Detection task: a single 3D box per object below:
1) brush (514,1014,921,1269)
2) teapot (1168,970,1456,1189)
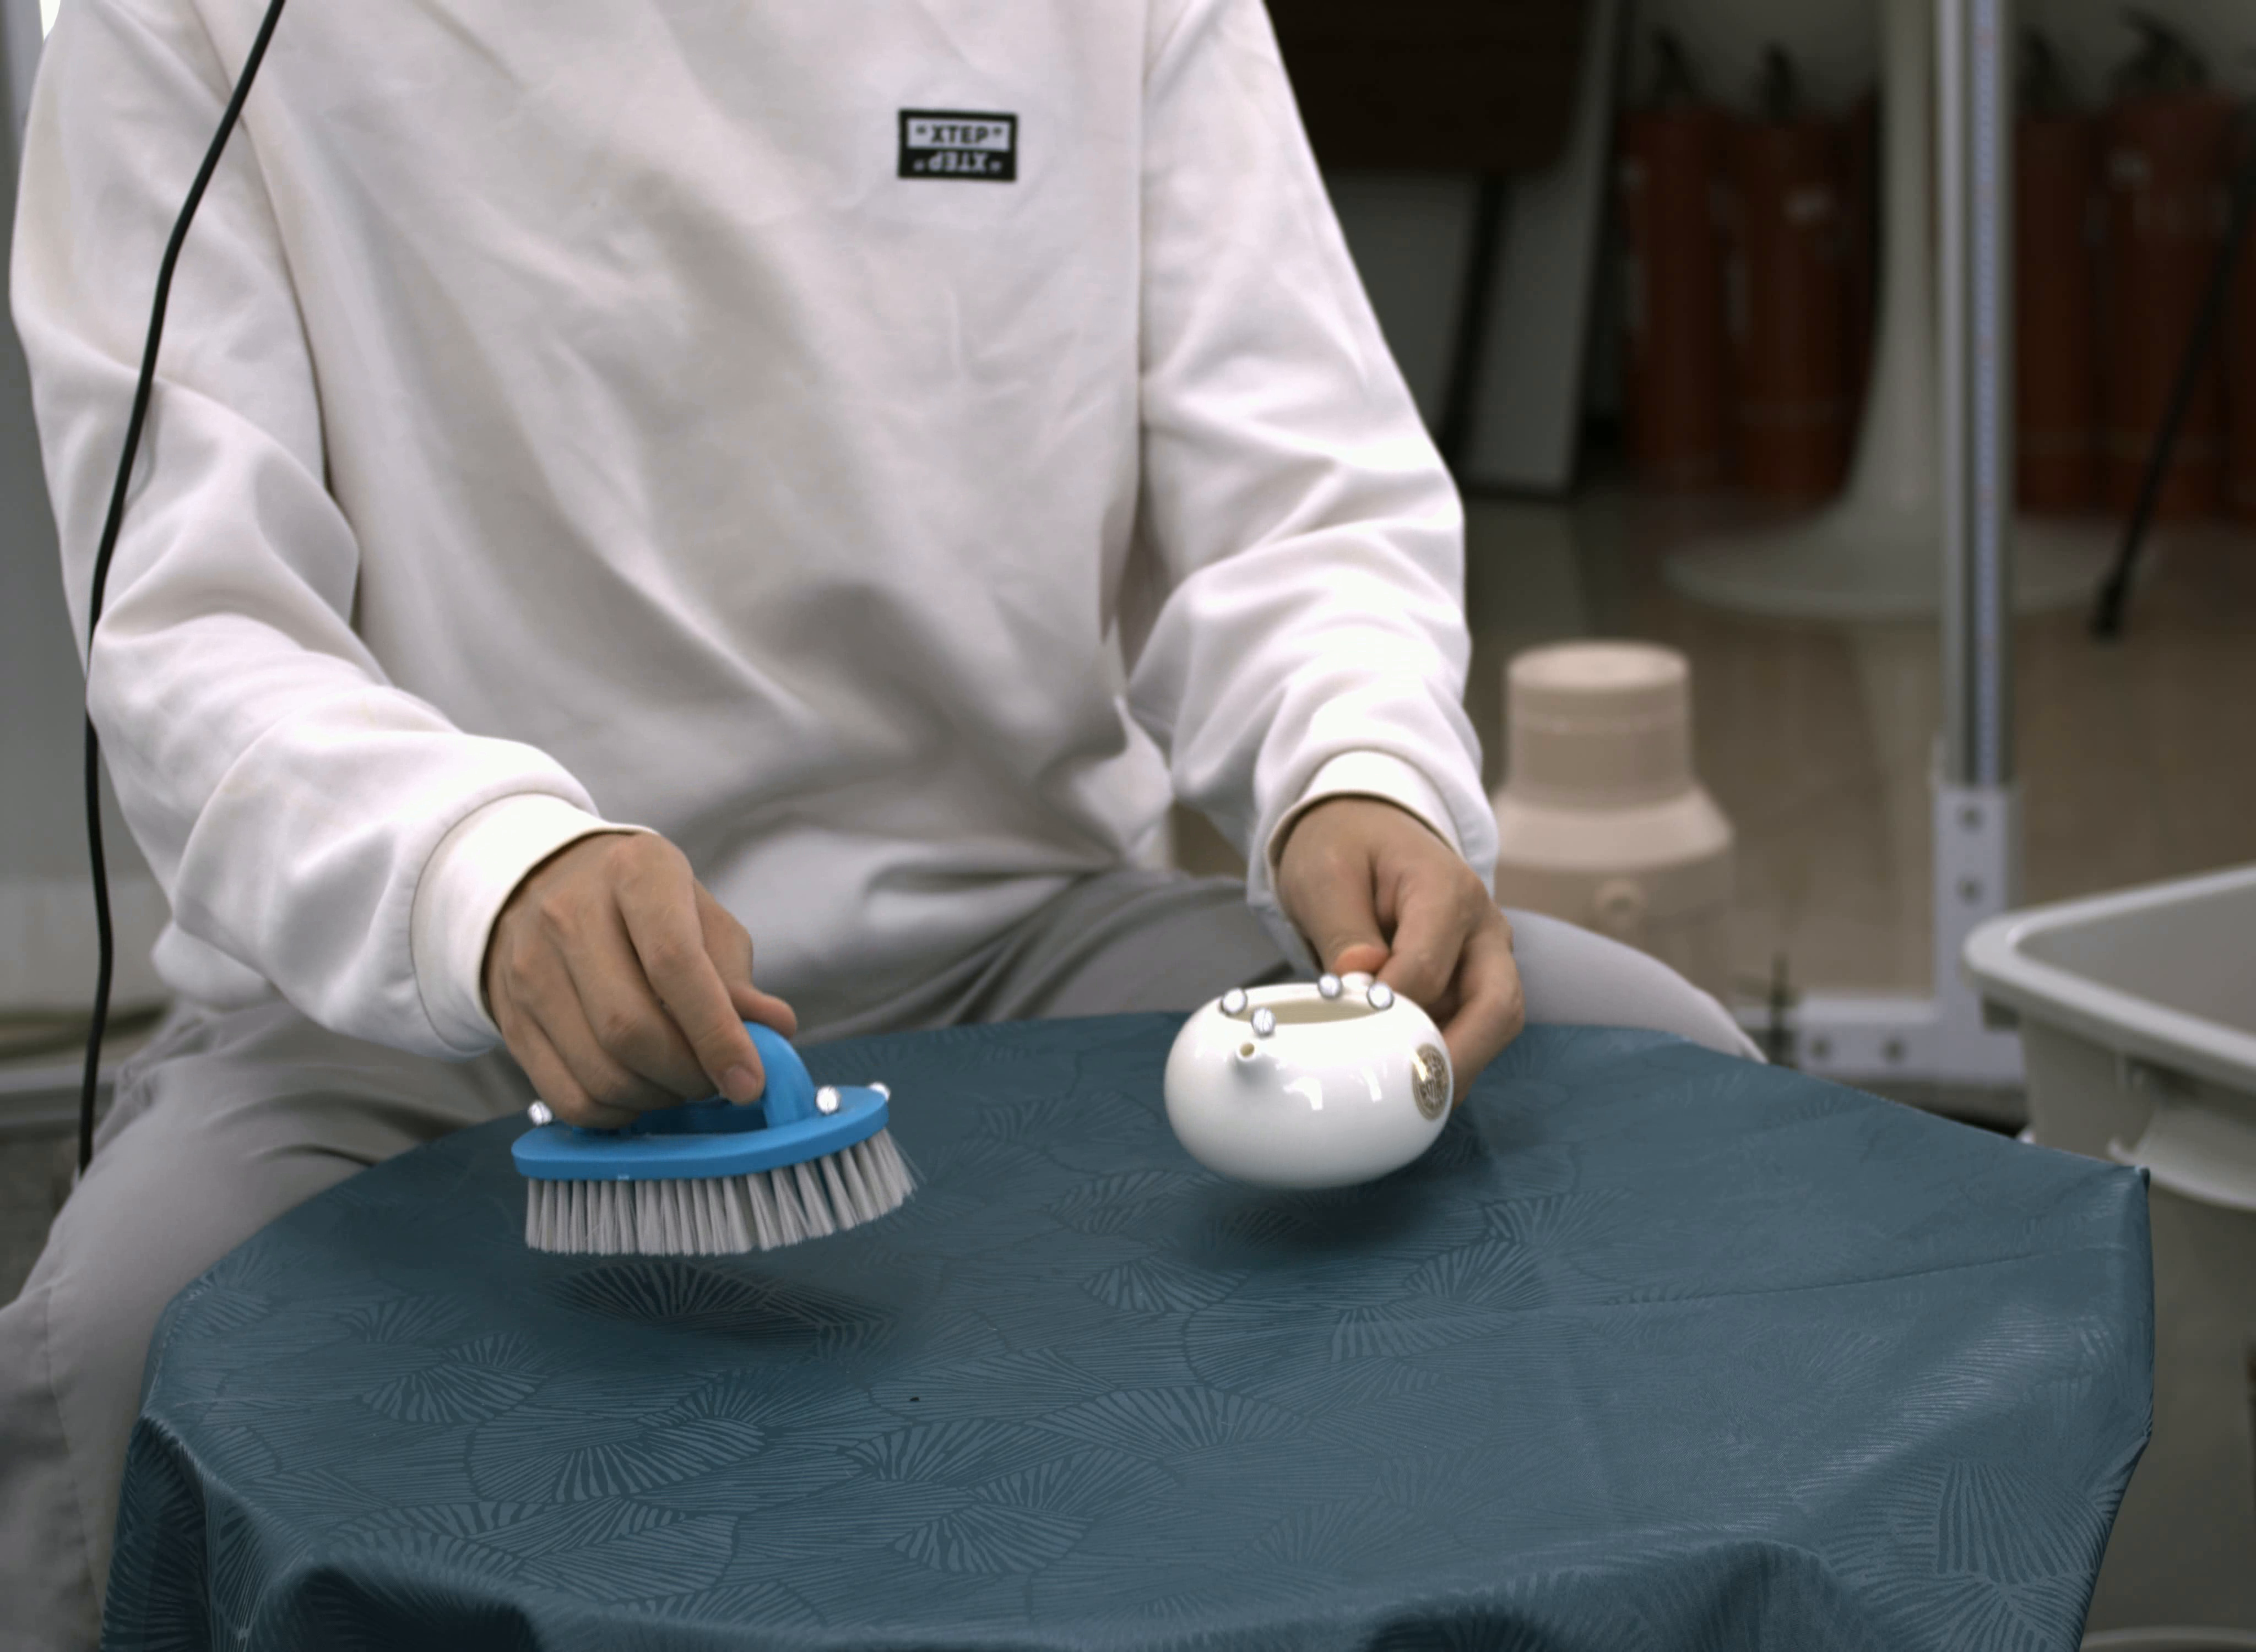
[{"bbox_3d":[-0.133,0.092,1.674,0.143,0.064,0.083,-8,15,40],"label":"brush"},{"bbox_3d":[0.062,0.081,1.734,0.093,0.057,0.126,-4,8,20],"label":"teapot"}]
